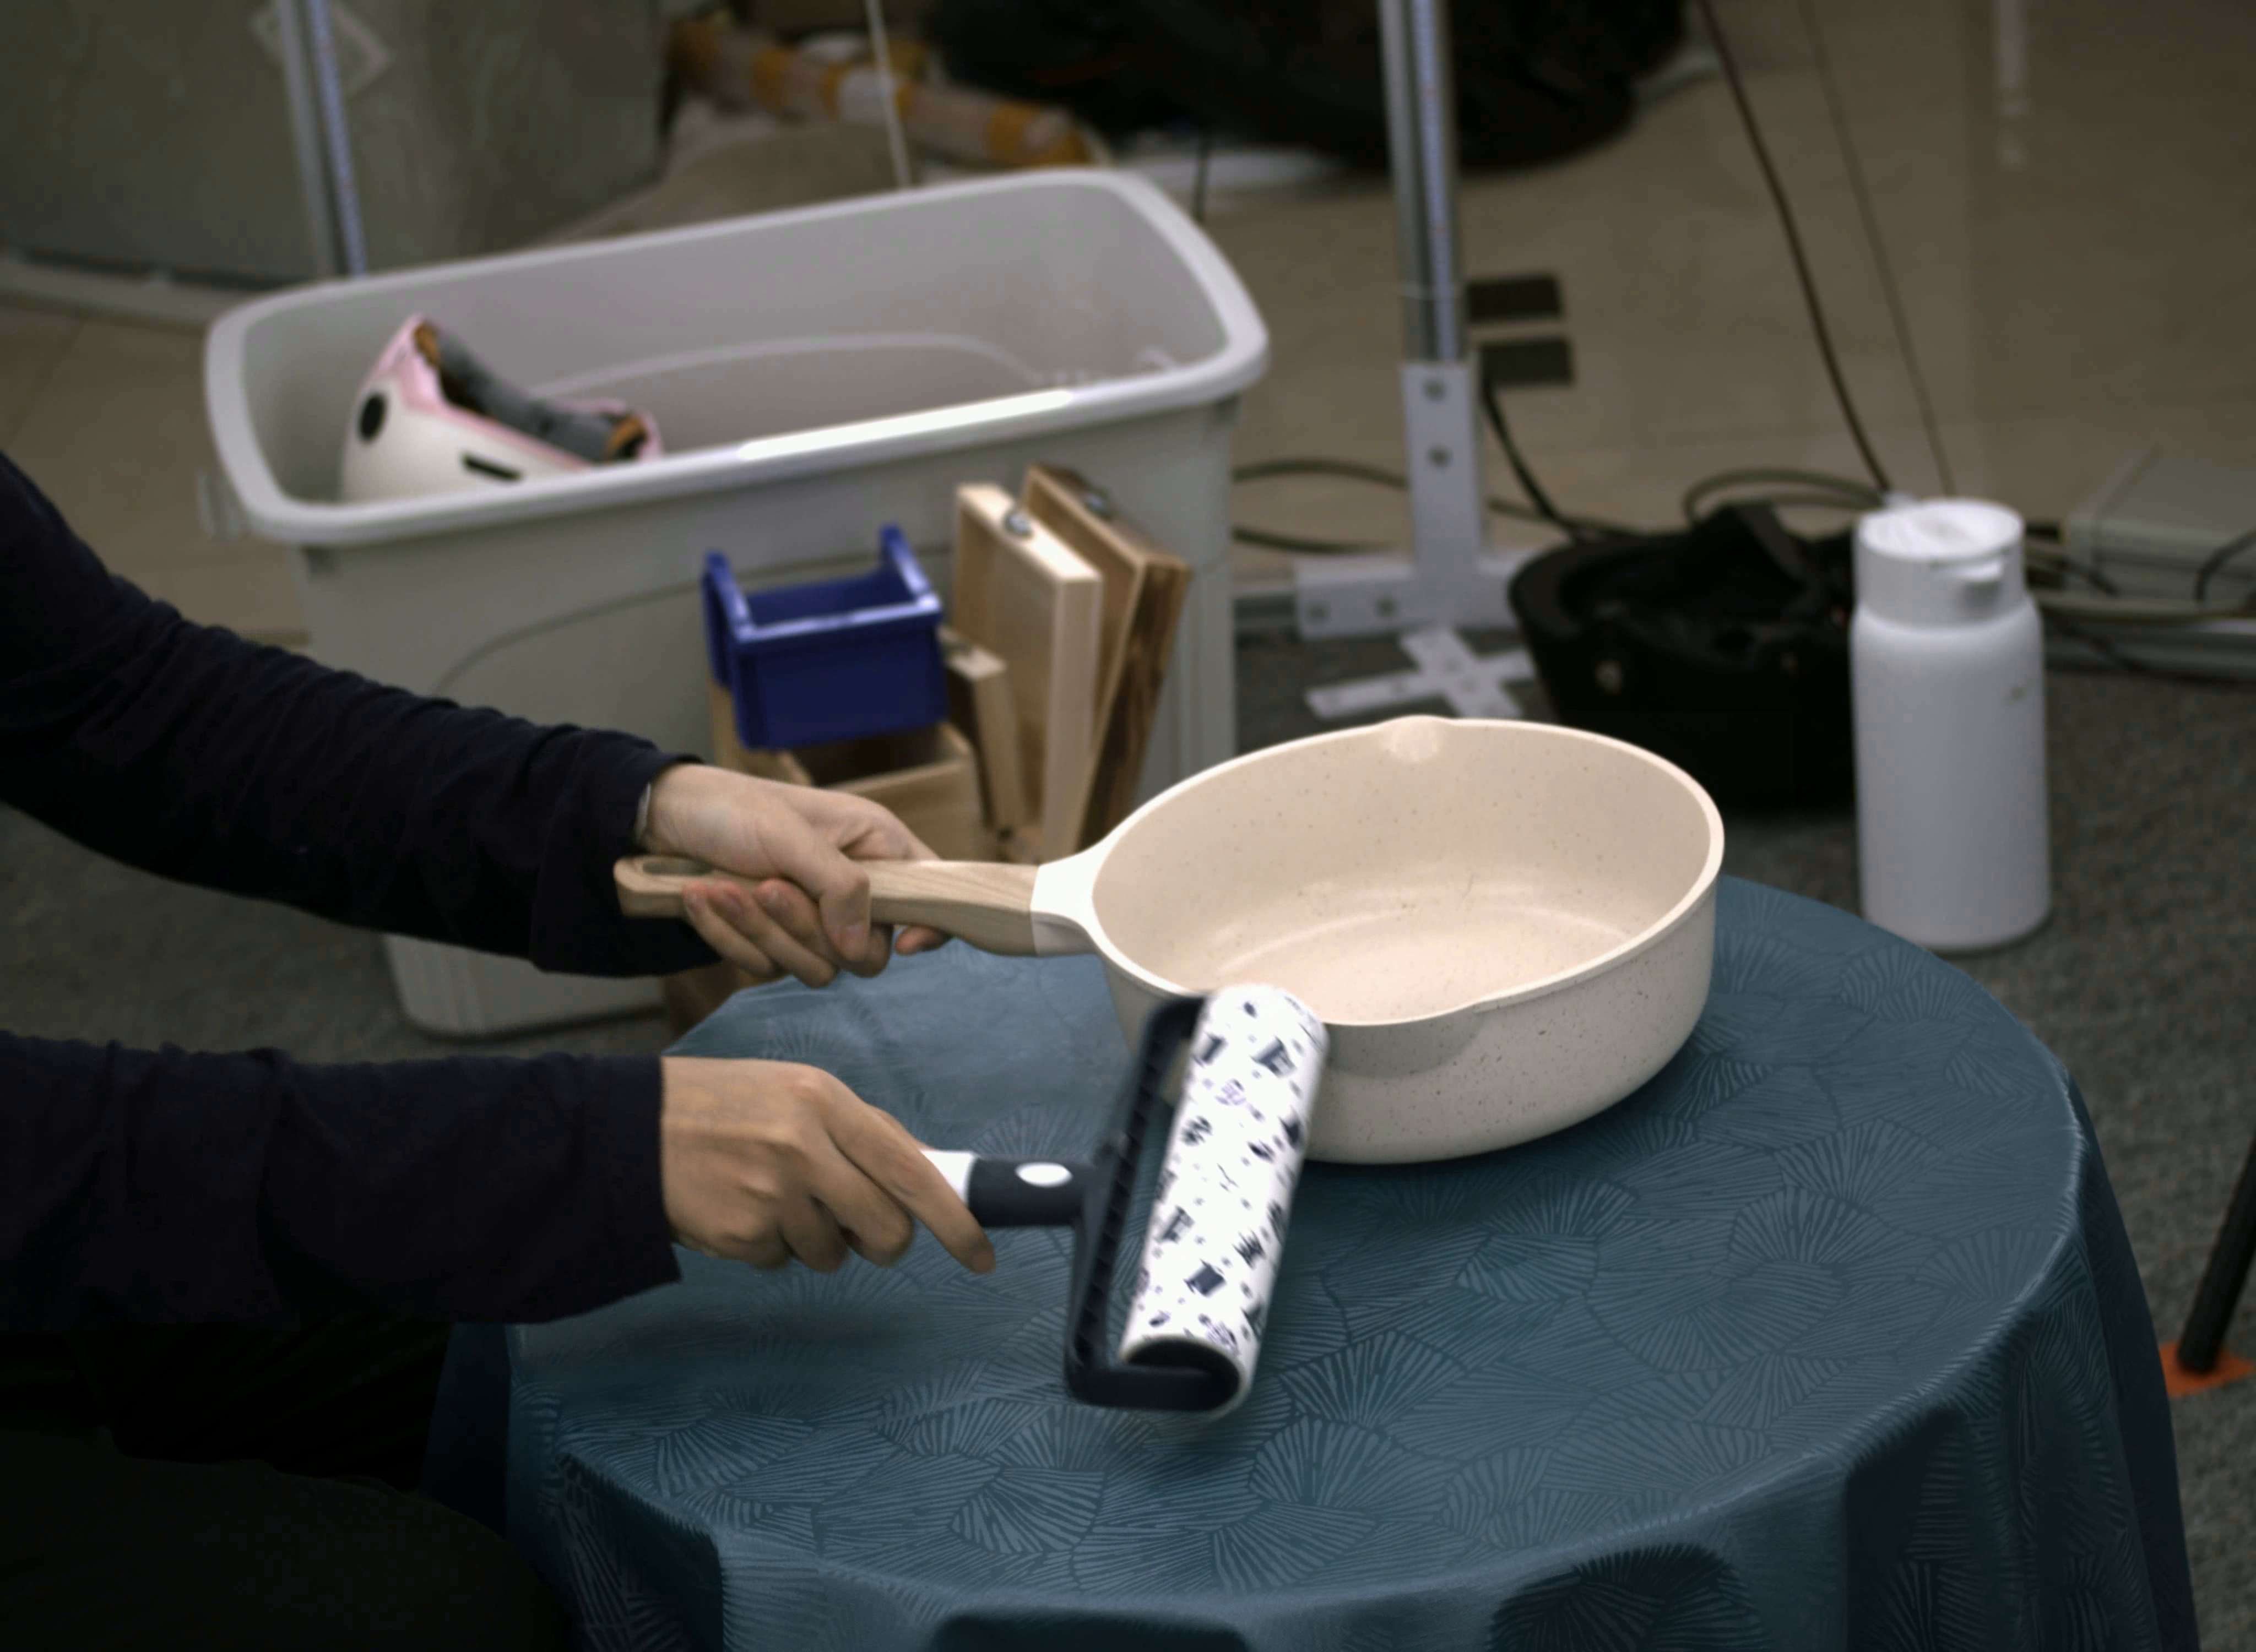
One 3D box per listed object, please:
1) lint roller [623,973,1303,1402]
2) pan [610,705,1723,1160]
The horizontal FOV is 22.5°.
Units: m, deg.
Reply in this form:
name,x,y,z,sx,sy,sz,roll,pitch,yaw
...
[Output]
name,x,y,z,sx,sy,sz,roll,pitch,yaw
lint roller,-0.068,0.130,2.049,0.246,0.051,0.173,-1,50,15
pan,0.018,0.047,2.223,0.434,0.104,0.259,-4,28,7
